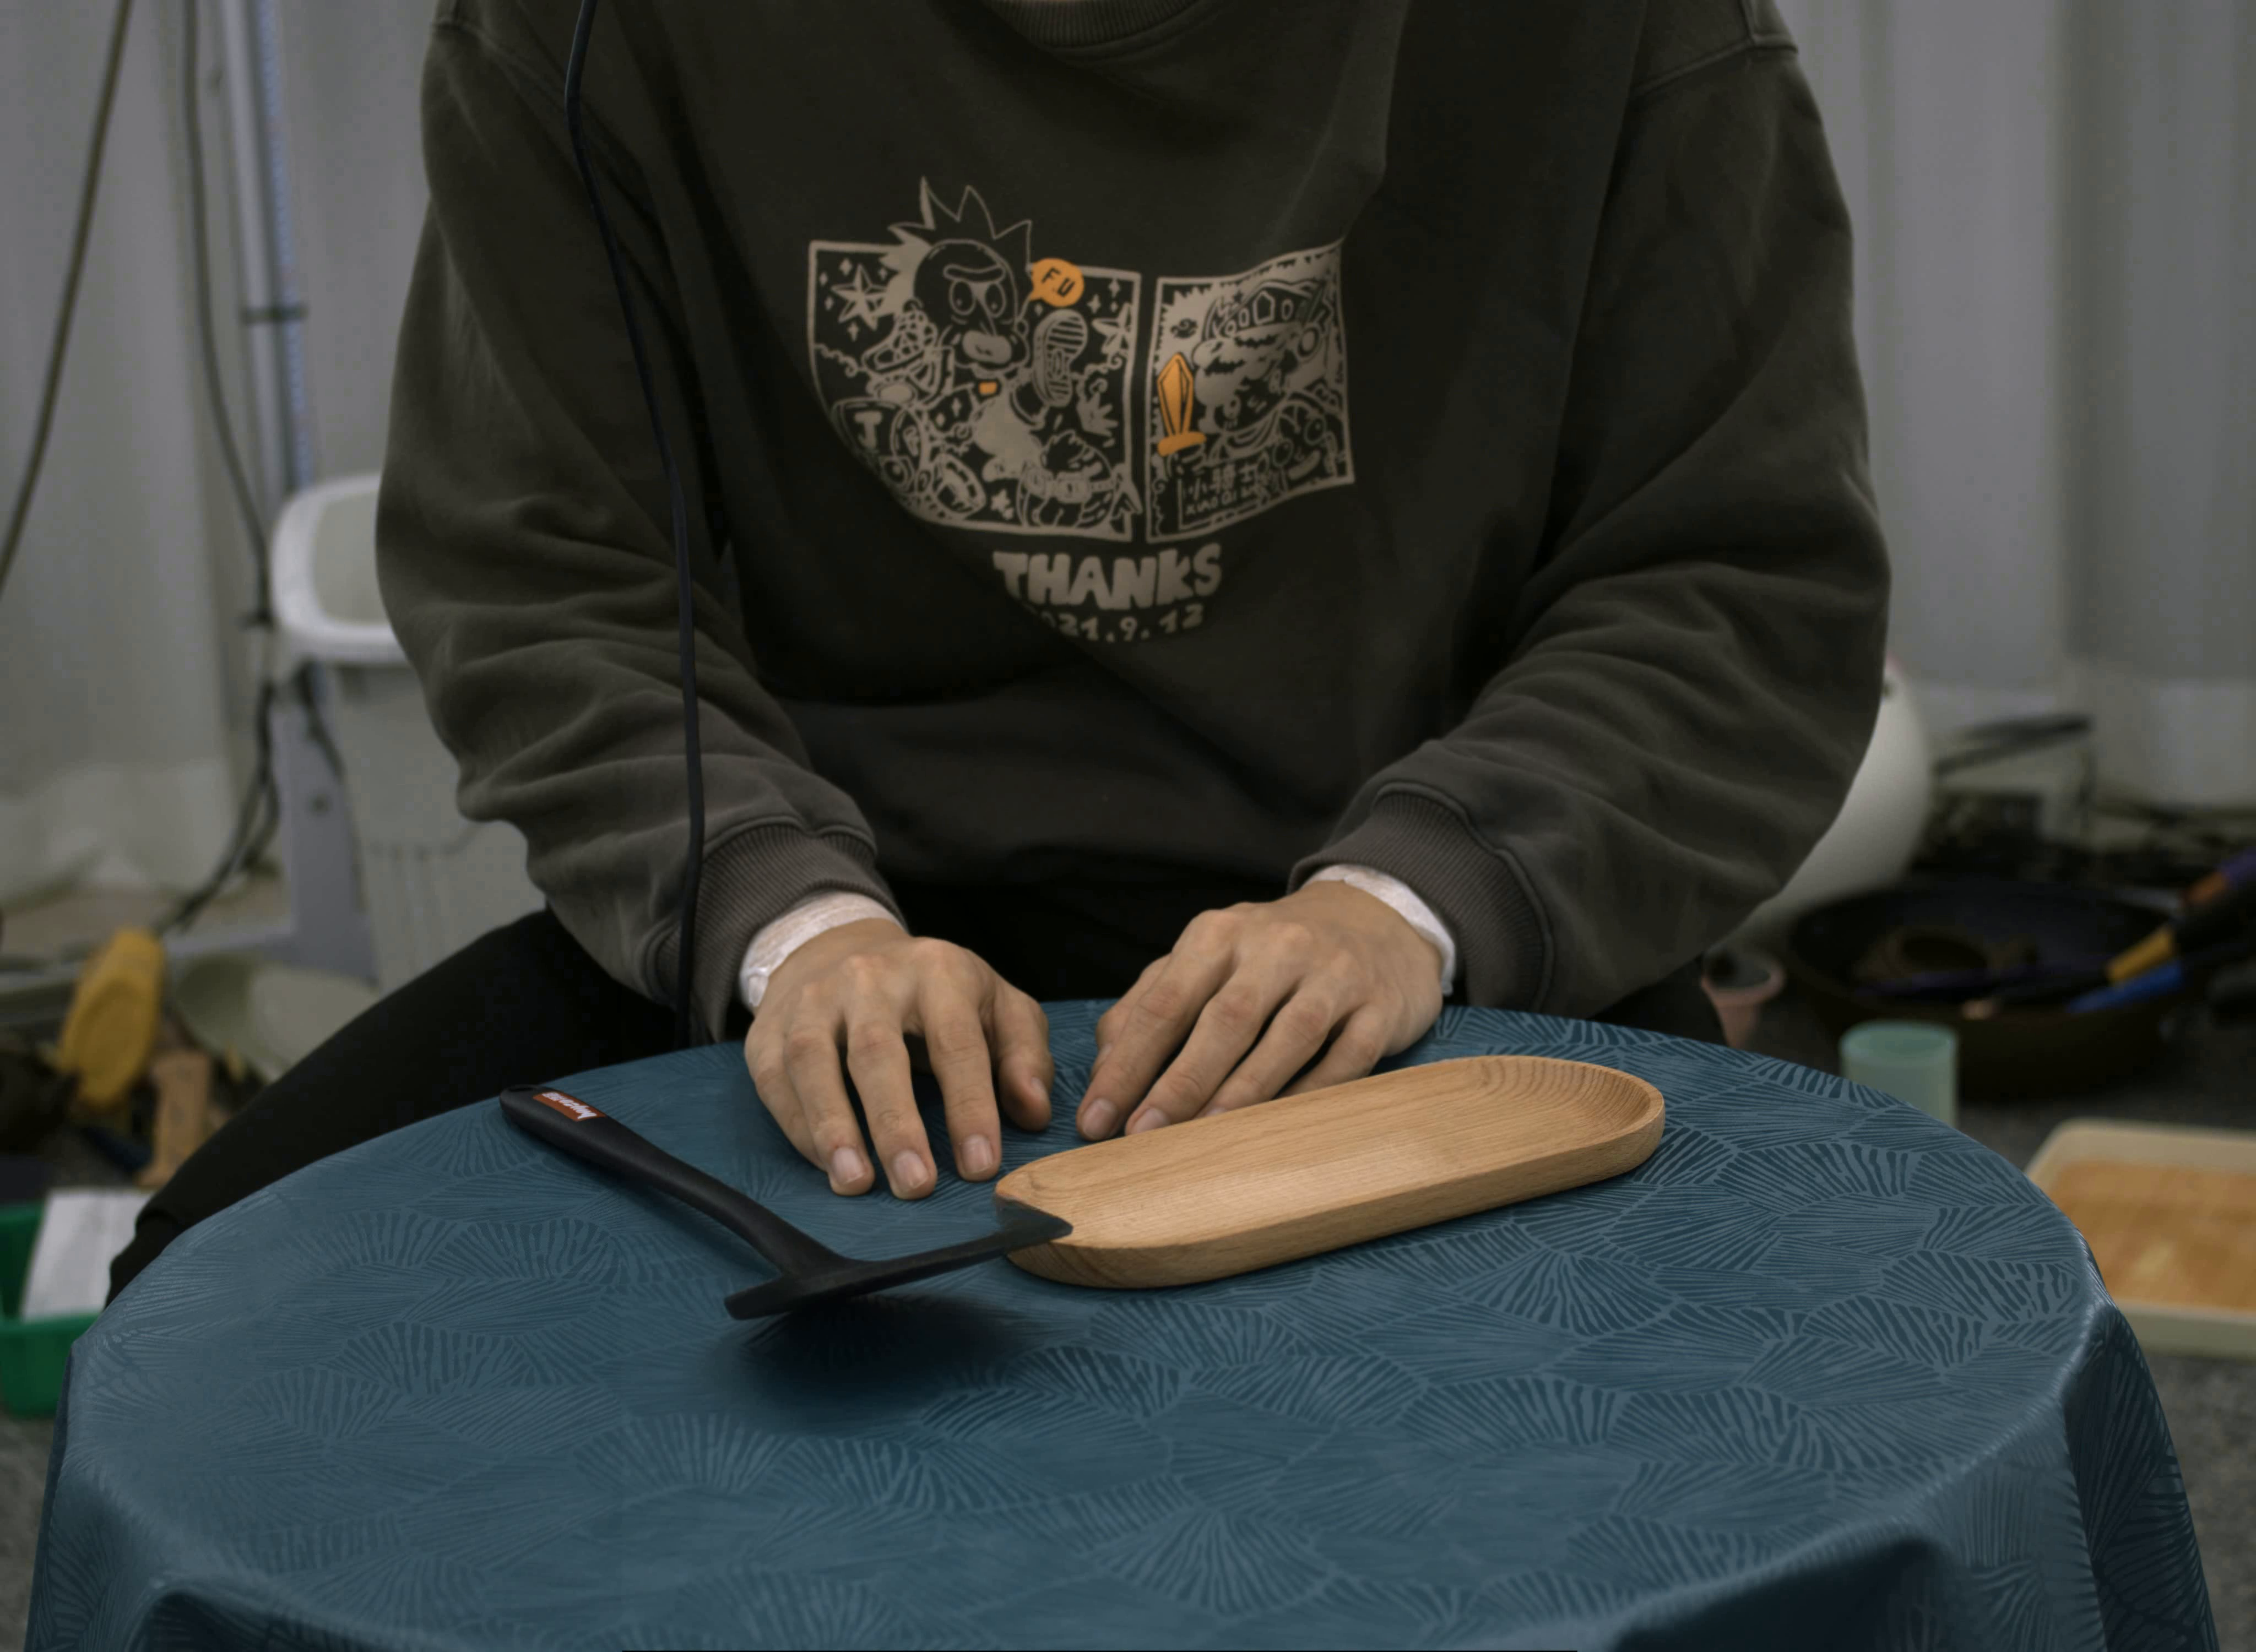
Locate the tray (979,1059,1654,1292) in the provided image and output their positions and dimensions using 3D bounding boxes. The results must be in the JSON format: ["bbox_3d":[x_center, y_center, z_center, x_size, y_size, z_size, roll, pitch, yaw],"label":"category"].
[{"bbox_3d":[0.061,0.108,1.704,0.230,0.020,0.102,-13,17,-29],"label":"tray"}]

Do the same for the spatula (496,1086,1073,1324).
[{"bbox_3d":[-0.130,0.110,1.696,0.099,0.040,0.328,-9,16,-27],"label":"spatula"}]
